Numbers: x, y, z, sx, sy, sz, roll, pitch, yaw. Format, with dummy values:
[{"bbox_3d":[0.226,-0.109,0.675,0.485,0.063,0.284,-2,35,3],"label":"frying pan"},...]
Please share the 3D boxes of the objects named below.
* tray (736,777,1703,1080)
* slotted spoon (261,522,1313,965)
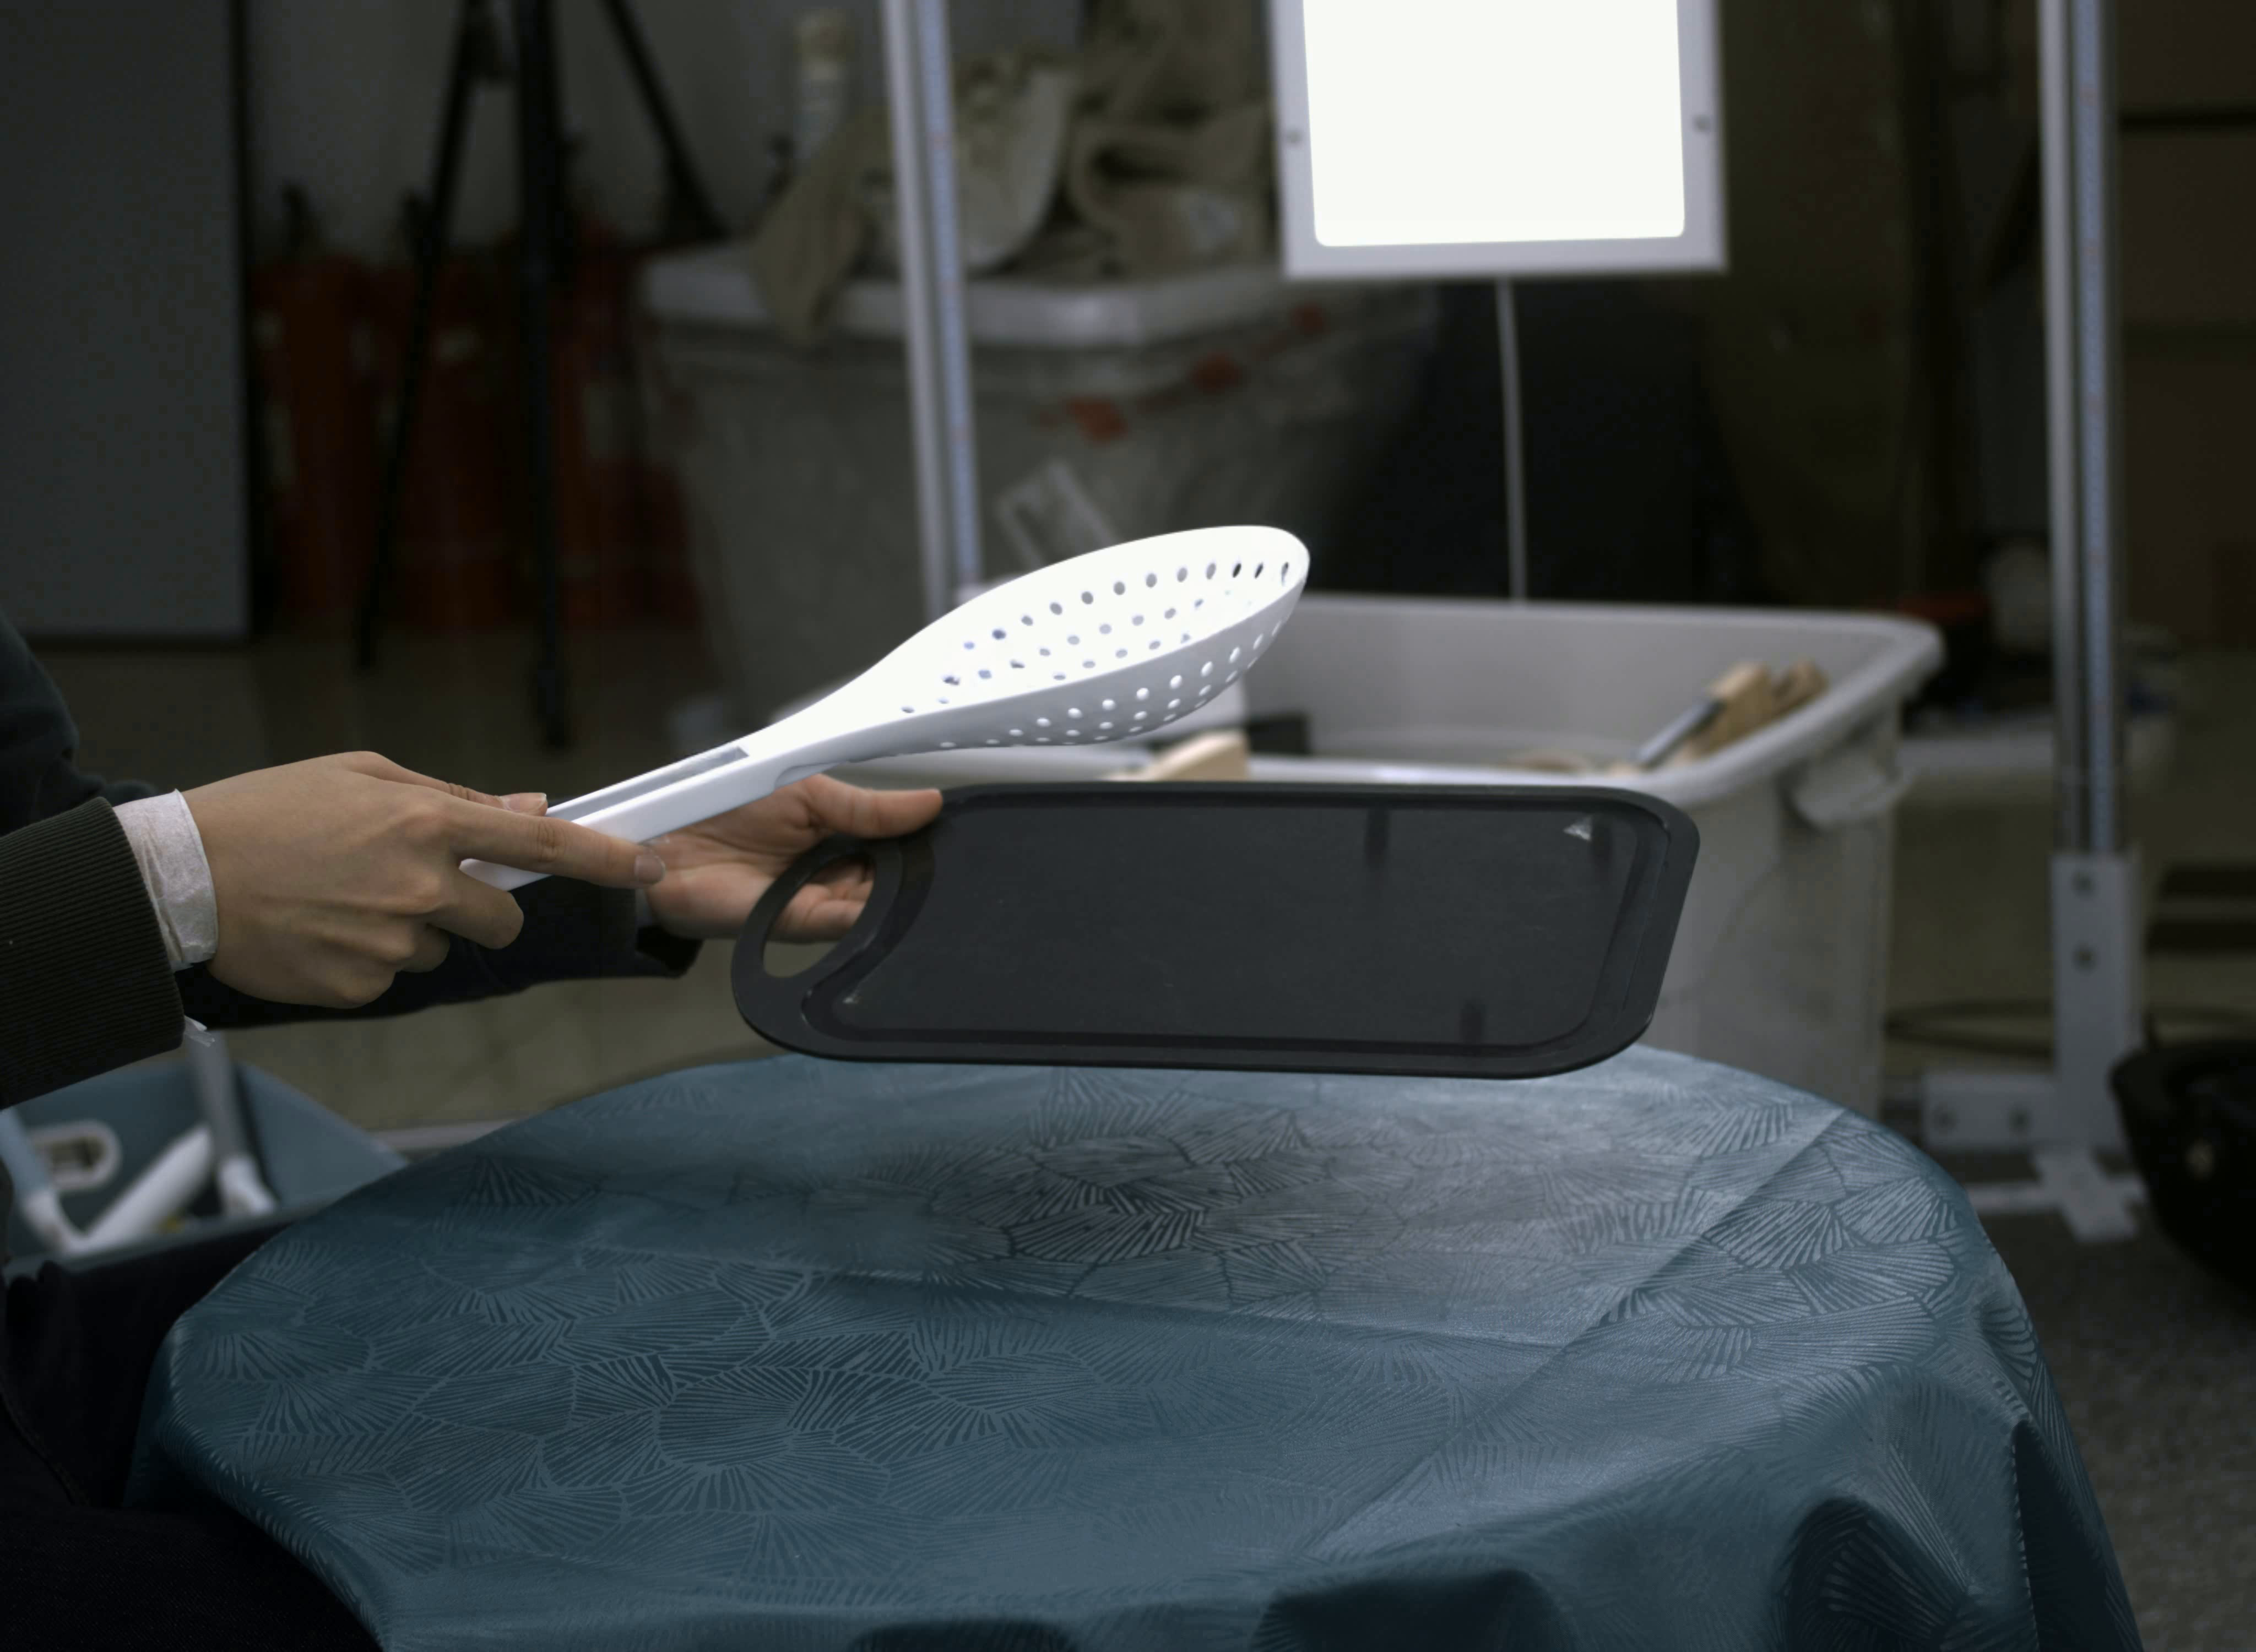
[{"bbox_3d":[0.027,0.030,1.872,0.328,0.010,0.208,1,27,16],"label":"tray"},{"bbox_3d":[-0.103,-0.026,1.715,0.345,0.046,0.137,-17,16,-12],"label":"slotted spoon"}]
